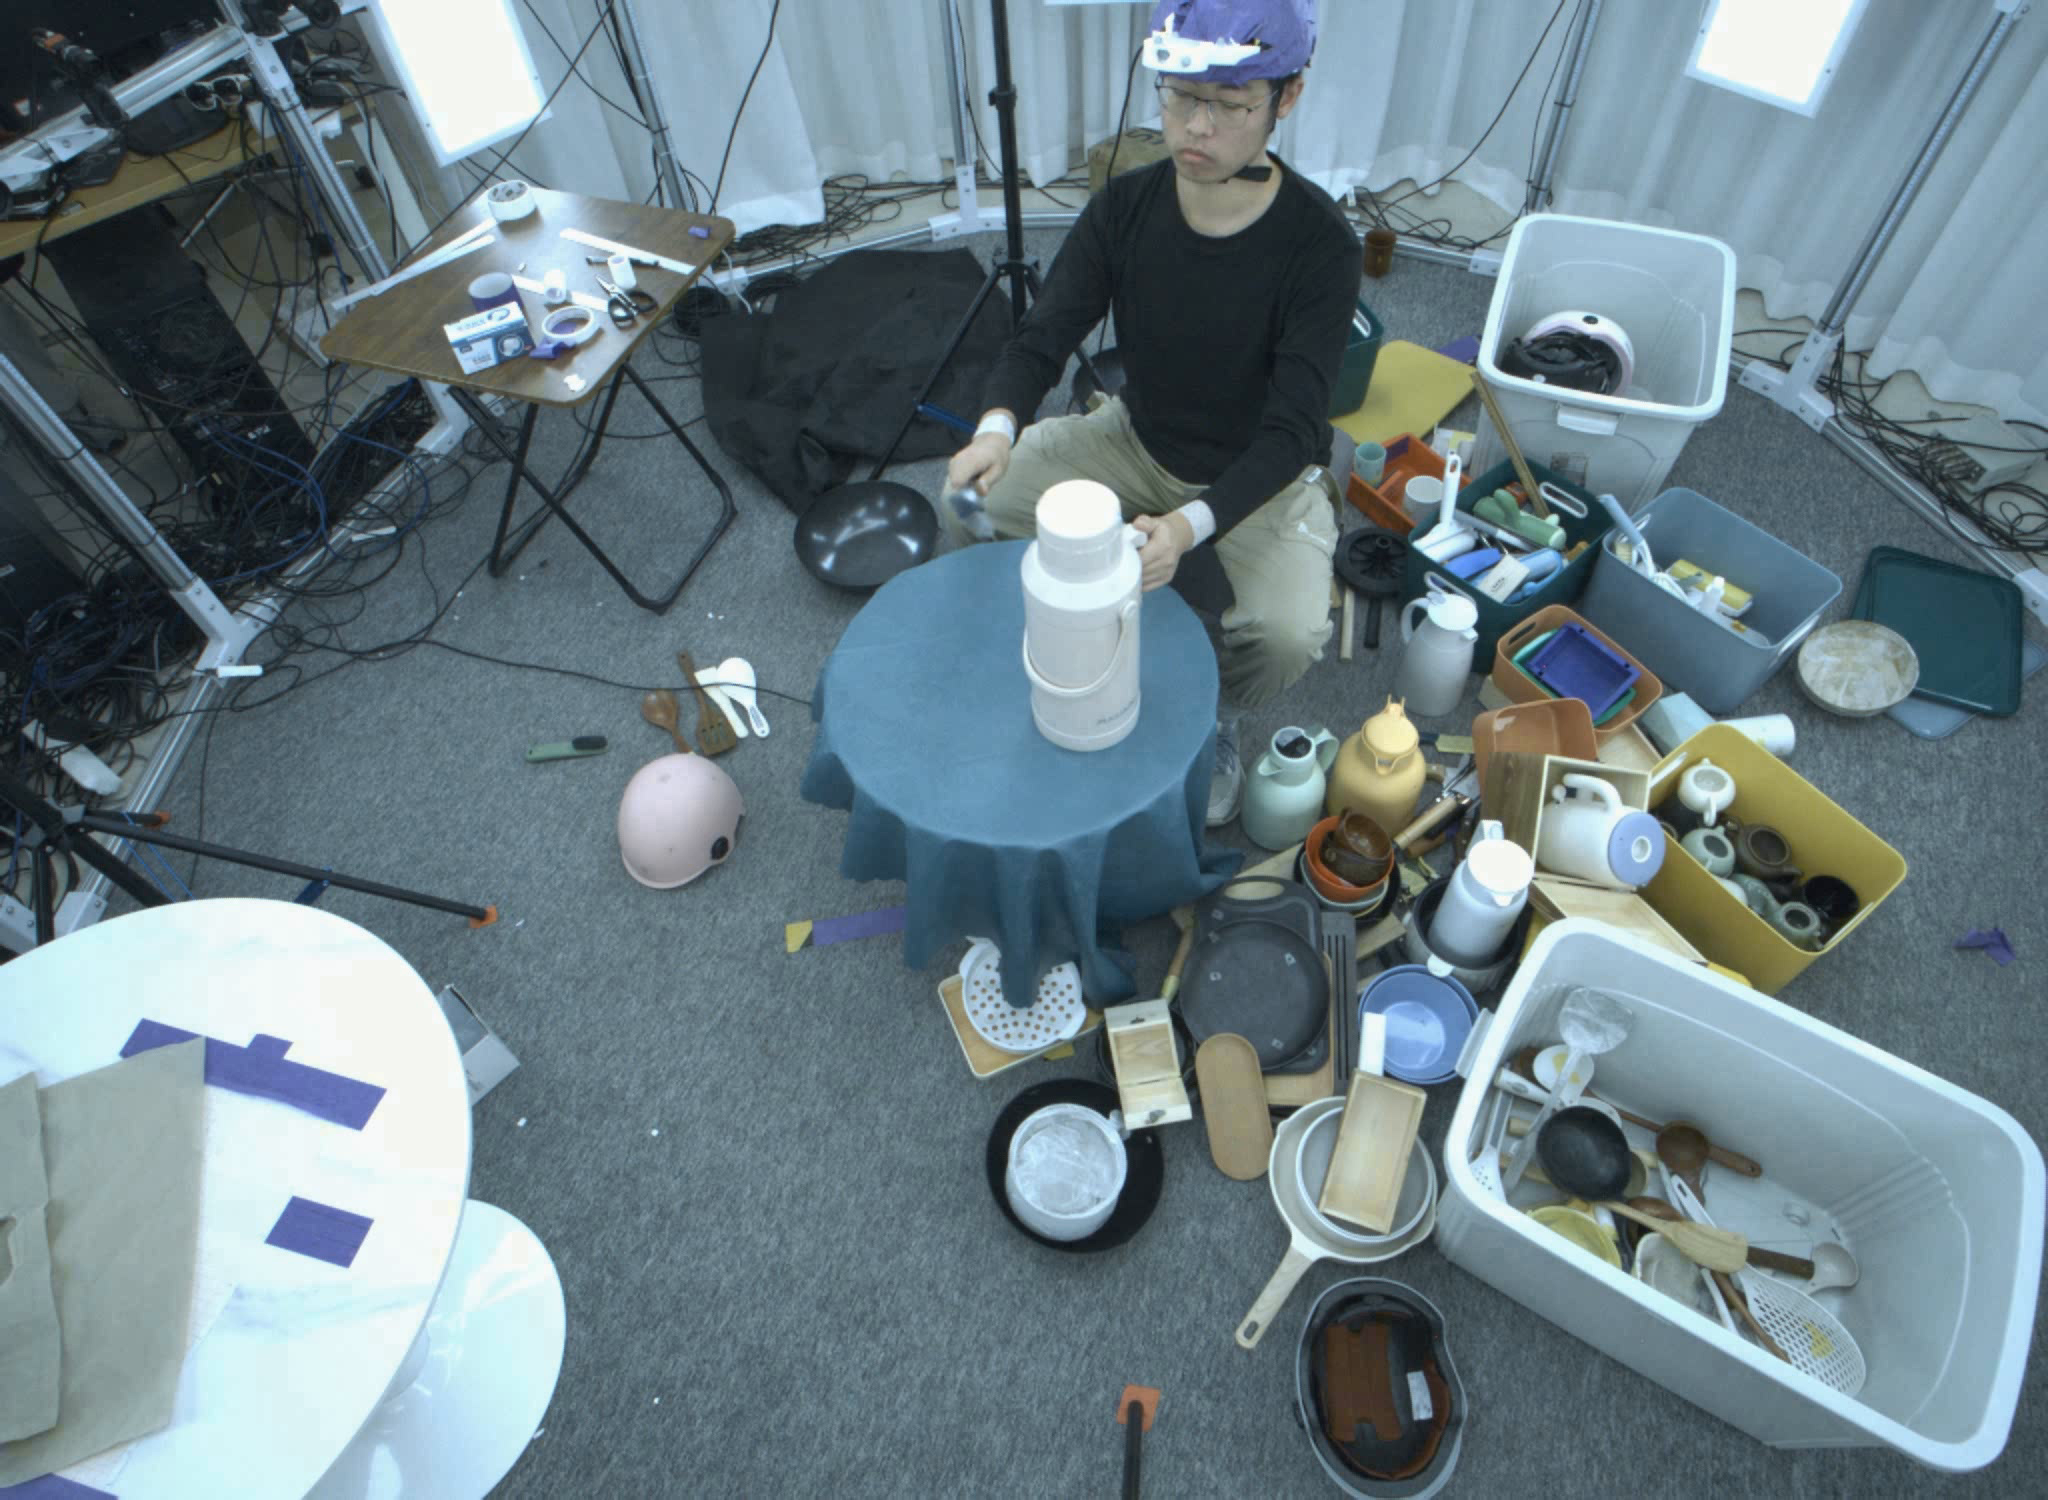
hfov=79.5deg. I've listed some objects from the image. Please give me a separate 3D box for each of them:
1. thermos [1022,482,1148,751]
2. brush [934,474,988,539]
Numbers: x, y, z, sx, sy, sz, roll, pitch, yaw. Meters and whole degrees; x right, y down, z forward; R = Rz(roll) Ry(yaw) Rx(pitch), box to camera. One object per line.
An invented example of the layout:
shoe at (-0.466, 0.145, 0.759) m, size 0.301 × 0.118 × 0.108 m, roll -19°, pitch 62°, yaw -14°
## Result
thermos at (0.092, -0.185, 1.671) m, size 0.172 × 0.411 × 0.208 m, roll 36°, pitch 64°, yaw 27°
brush at (-0.083, -0.356, 1.690) m, size 0.033 × 0.097 × 0.270 m, roll -33°, pitch 27°, yaw 16°
